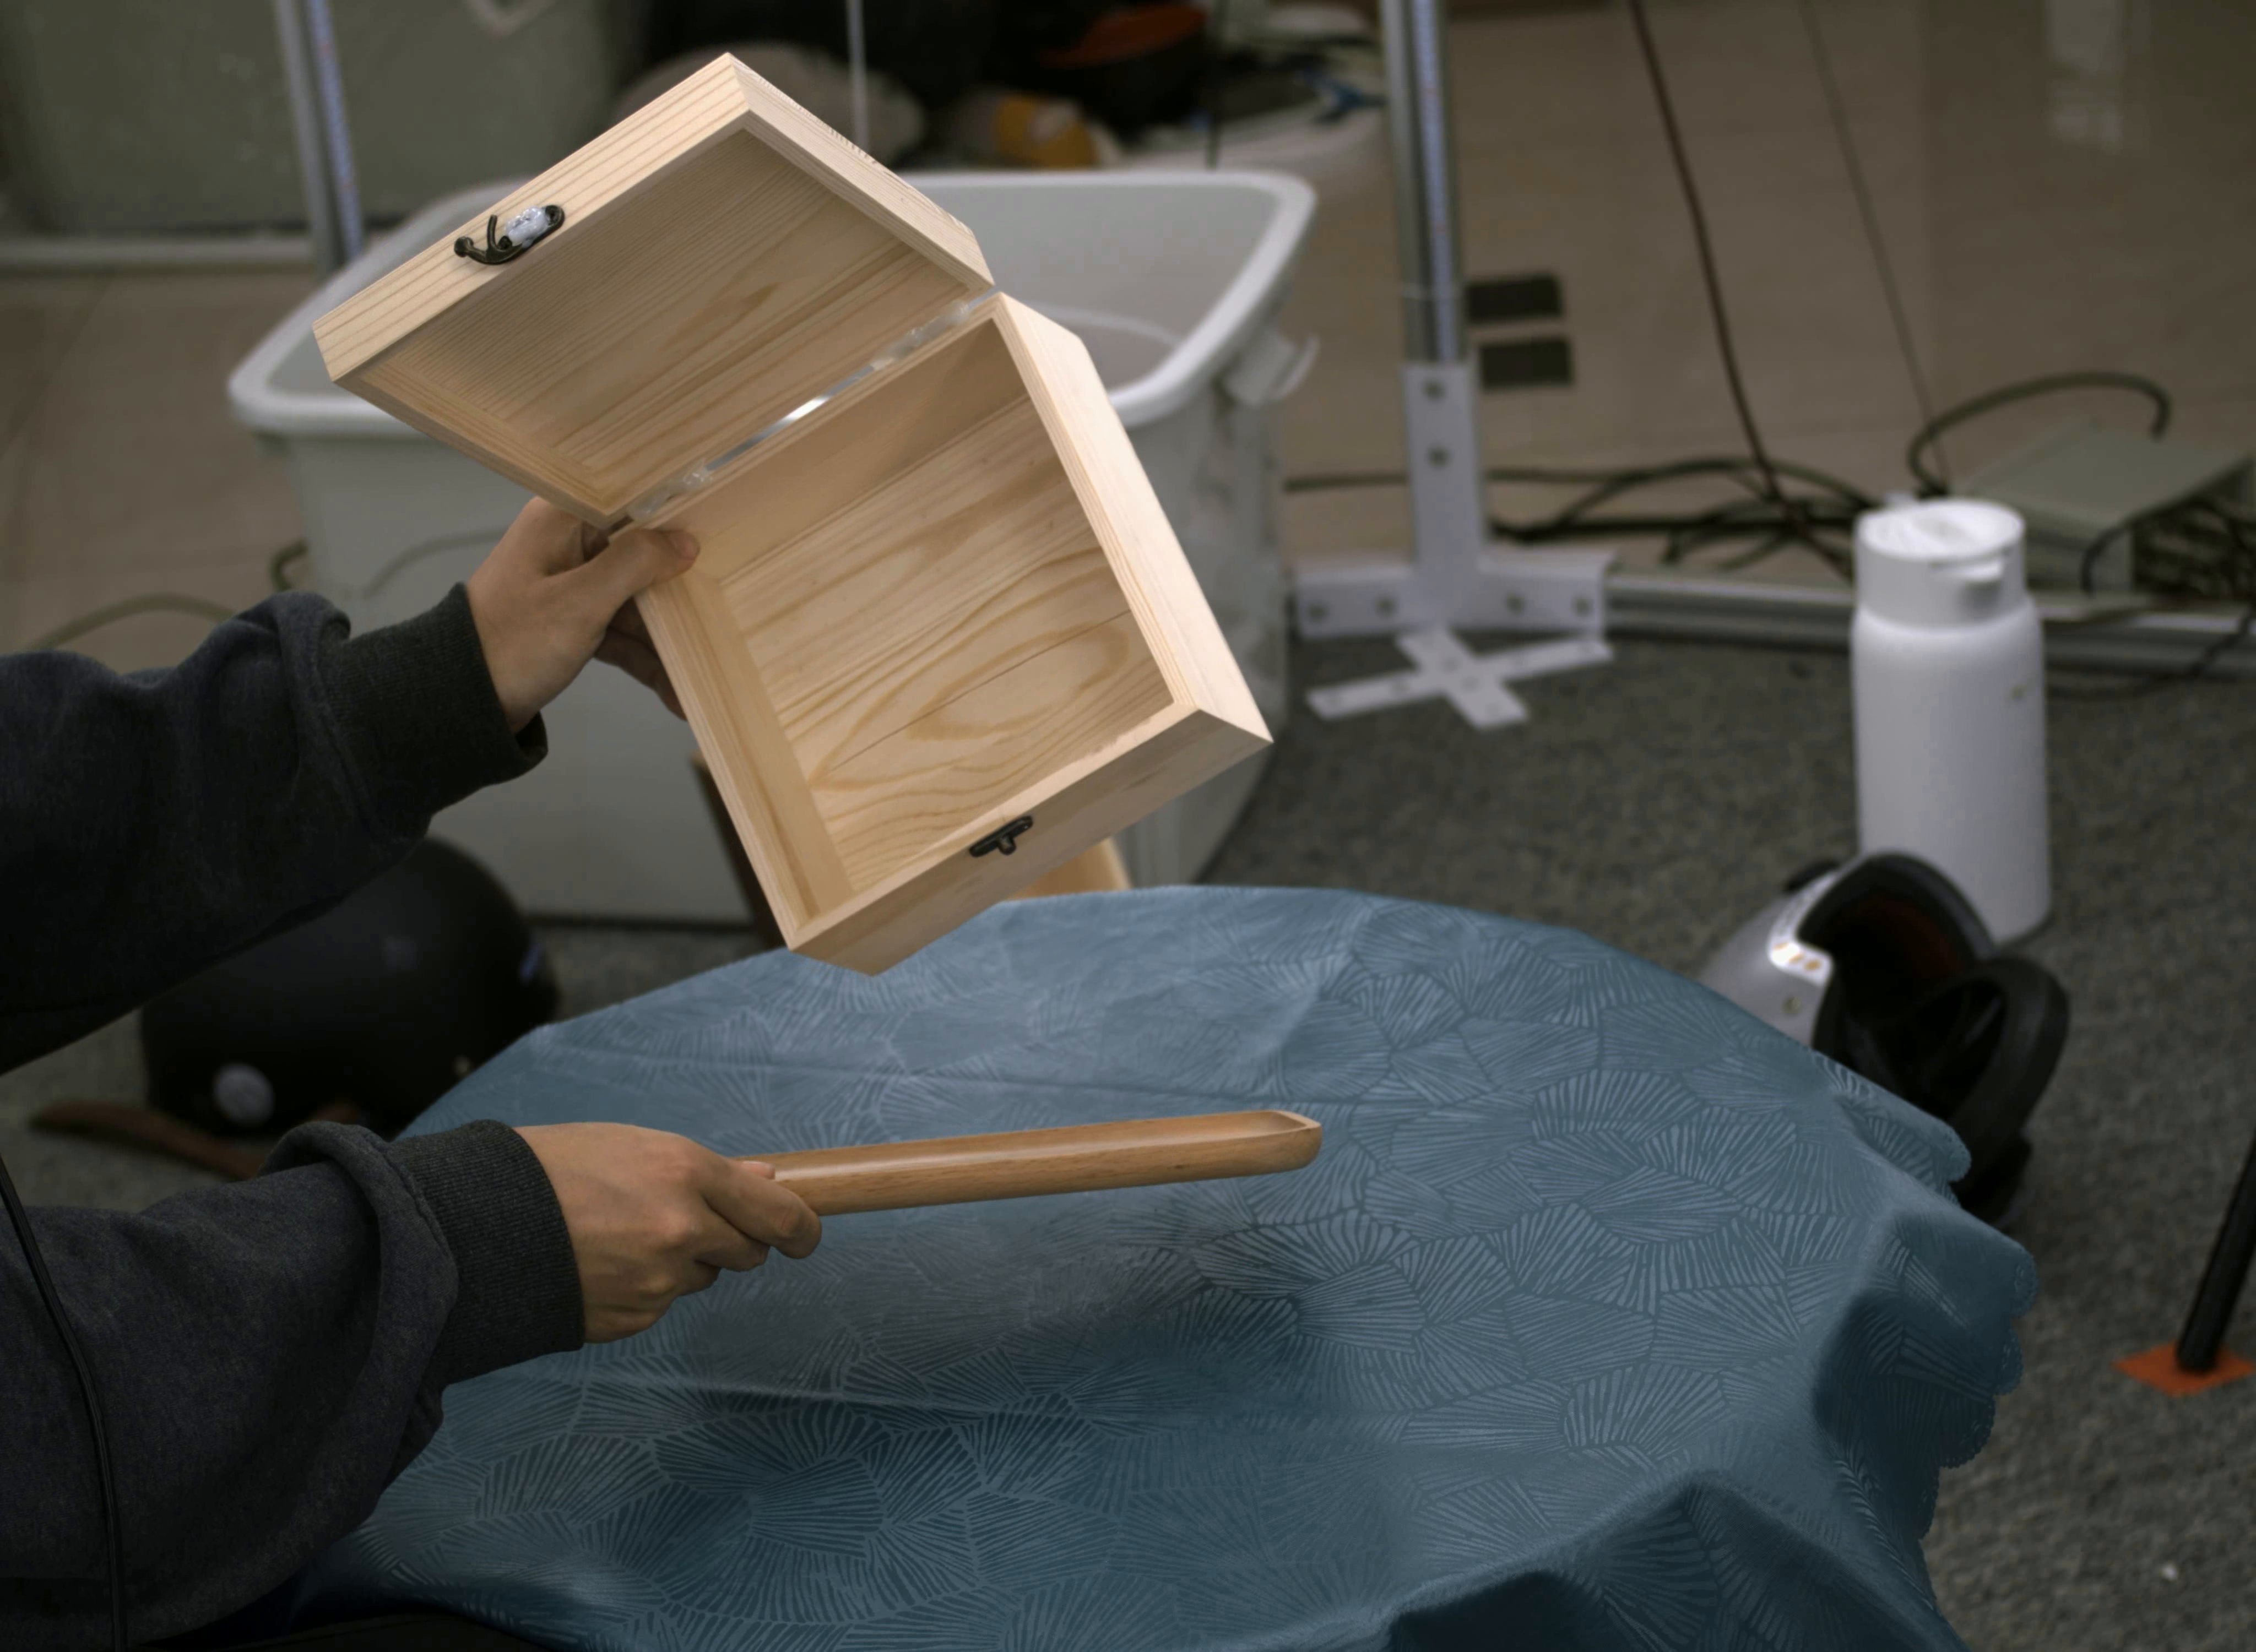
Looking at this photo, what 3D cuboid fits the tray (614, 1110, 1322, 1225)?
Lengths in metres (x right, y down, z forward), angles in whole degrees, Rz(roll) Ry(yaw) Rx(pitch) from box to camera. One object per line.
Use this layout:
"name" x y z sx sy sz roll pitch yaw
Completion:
"tray" -0.059 0.122 2.042 0.250 0.023 0.130 -5 -1 -7

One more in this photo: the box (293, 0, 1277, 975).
"box" -0.120 -0.112 2.029 0.182 0.262 0.254 -32 -20 18
